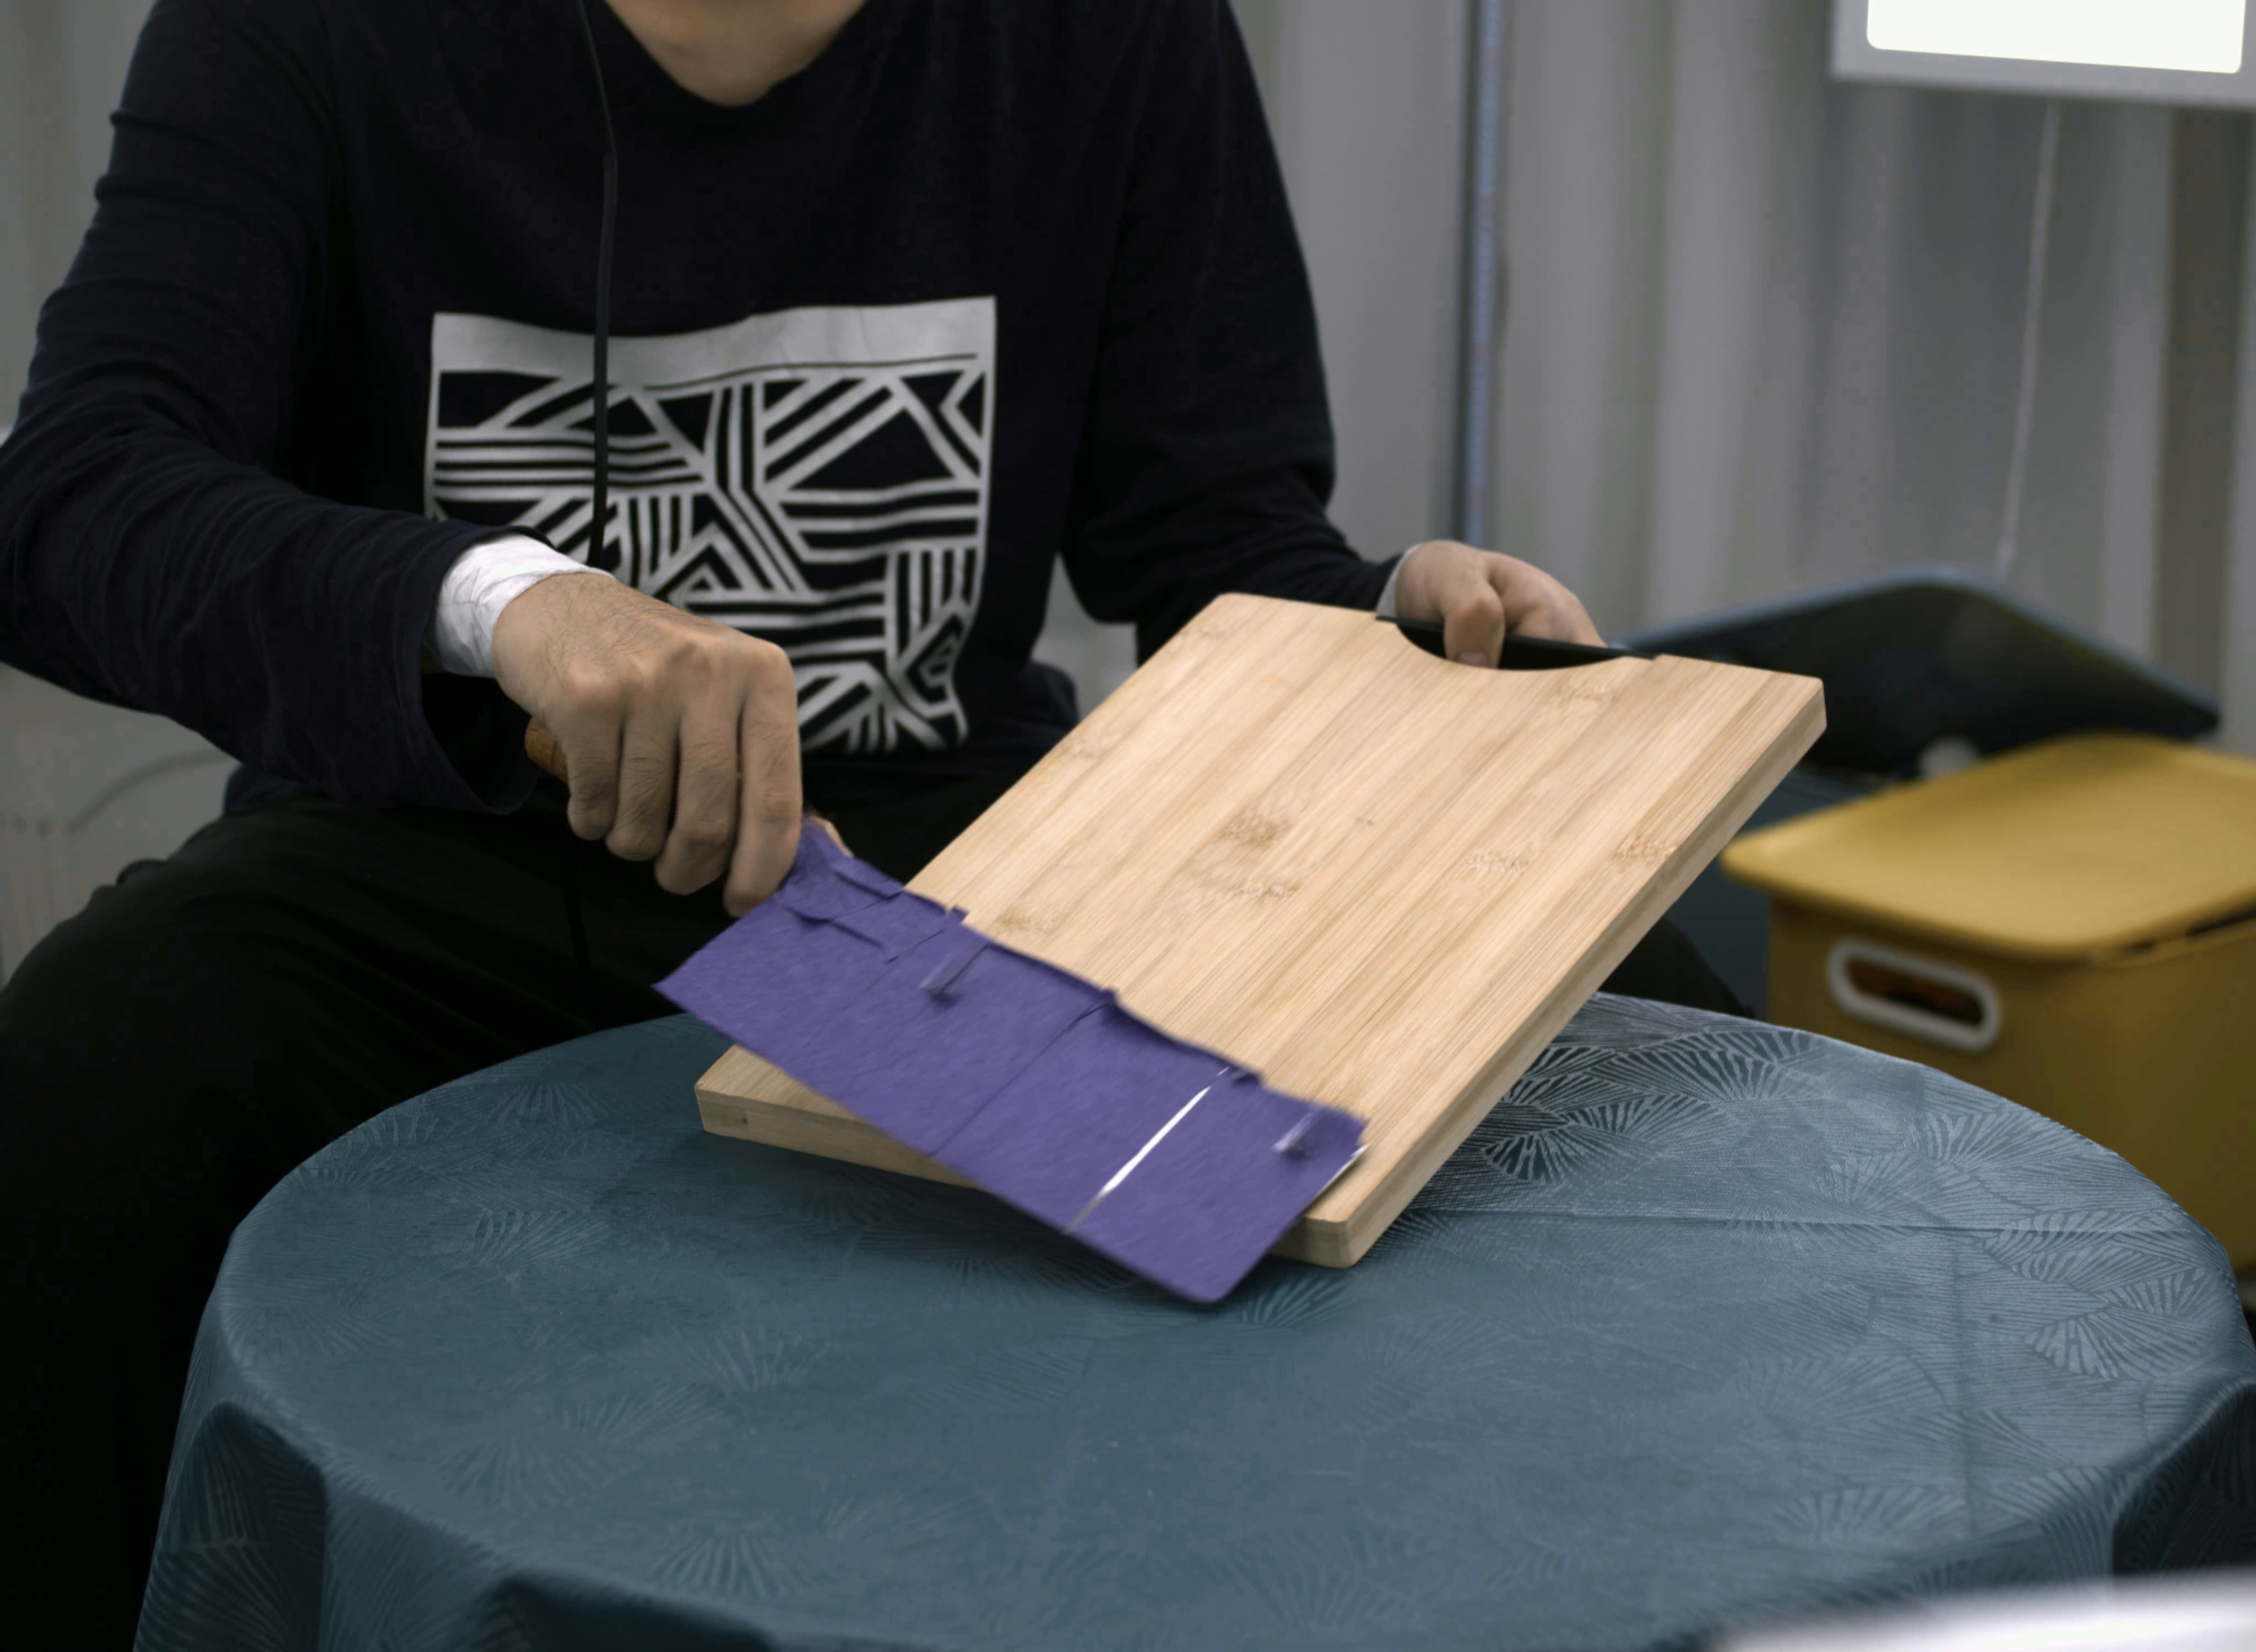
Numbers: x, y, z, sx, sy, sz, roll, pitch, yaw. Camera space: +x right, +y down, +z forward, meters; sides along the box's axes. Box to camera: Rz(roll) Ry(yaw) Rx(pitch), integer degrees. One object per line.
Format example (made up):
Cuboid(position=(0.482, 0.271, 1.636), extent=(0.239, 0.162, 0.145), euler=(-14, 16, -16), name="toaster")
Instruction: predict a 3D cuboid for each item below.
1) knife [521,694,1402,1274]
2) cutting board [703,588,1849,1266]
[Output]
Cuboid(position=(-0.072, 0.045, 1.604), extent=(0.312, 0.032, 0.104), euler=(25, 42, 22), name="knife")
Cuboid(position=(0.054, 0.022, 1.735), extent=(0.248, 0.024, 0.348), euler=(10, 35, 30), name="cutting board")
